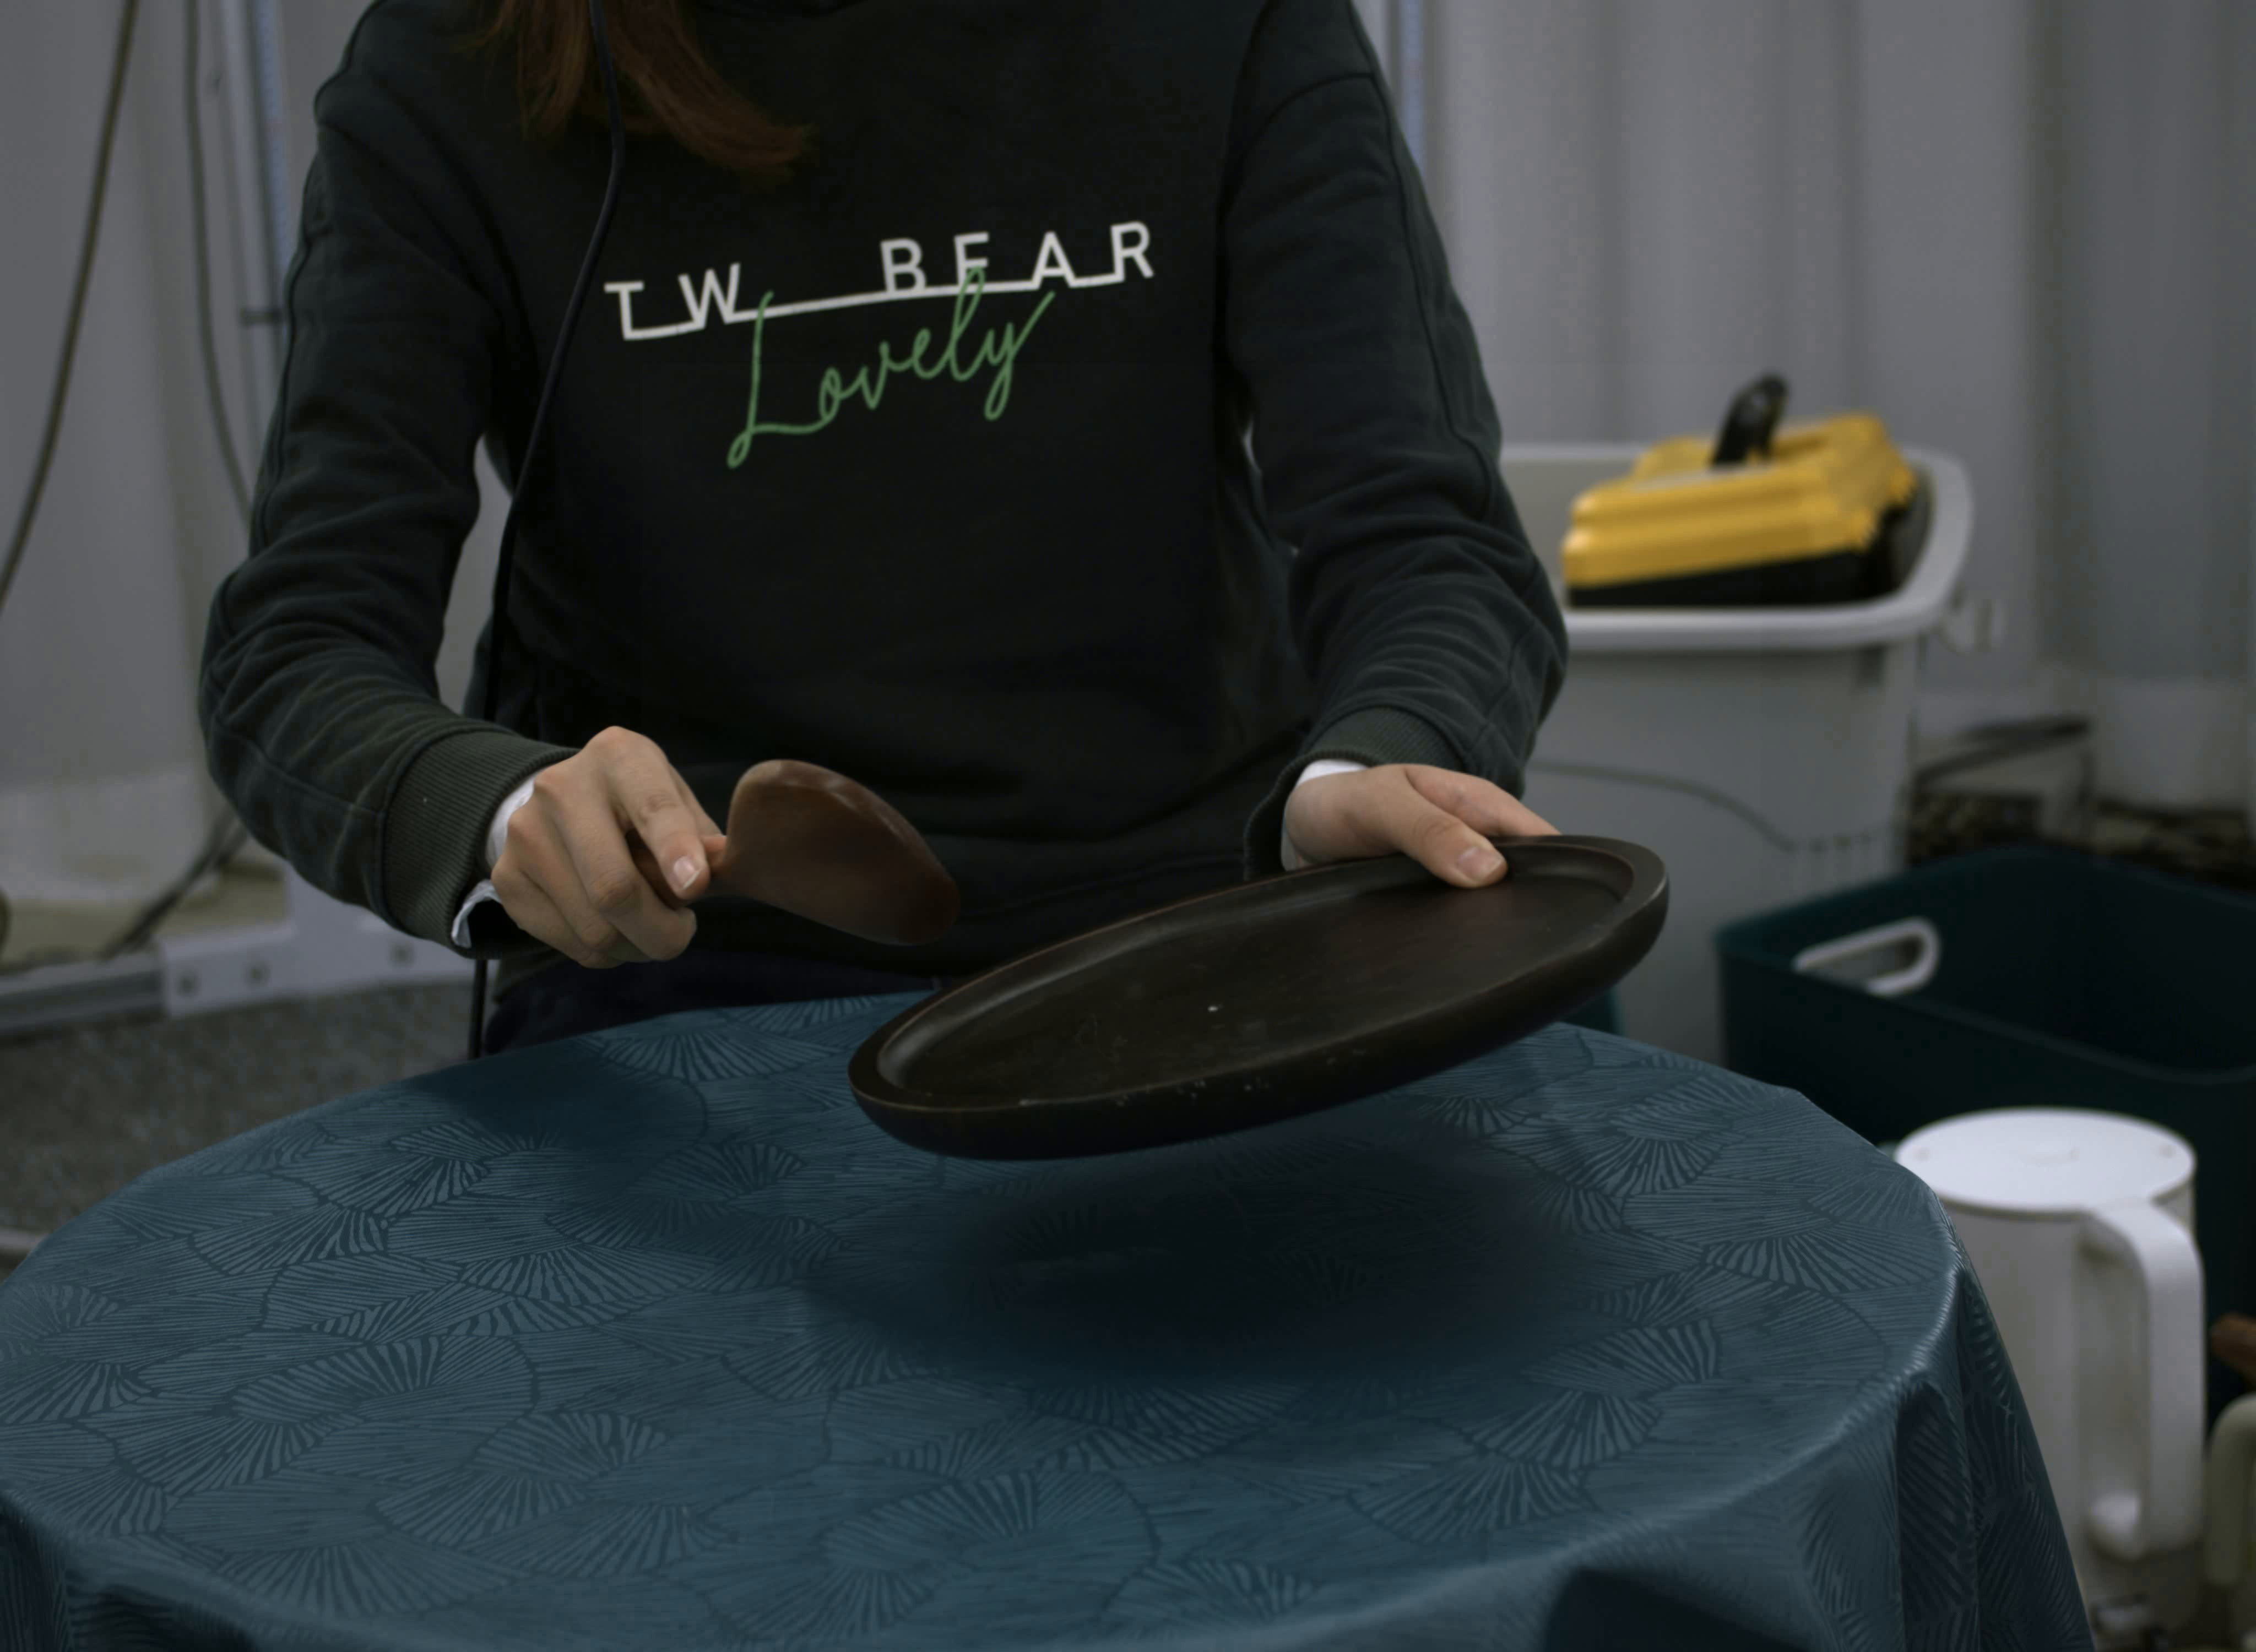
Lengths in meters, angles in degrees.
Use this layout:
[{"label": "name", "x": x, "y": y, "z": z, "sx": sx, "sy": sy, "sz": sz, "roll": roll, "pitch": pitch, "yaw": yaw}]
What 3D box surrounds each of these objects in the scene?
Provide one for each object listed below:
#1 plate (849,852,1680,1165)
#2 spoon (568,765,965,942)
[{"label": "plate", "x": 0.041, "y": 0.052, "z": 1.630, "sx": 0.254, "sy": 0.029, "sz": 0.256, "roll": -13, "pitch": 12, "yaw": 2}, {"label": "spoon", "x": -0.117, "y": 0.014, "z": 1.664, "sx": 0.017, "sy": 0.075, "sz": 0.216, "roll": -53, "pitch": 22, "yaw": -22}]
